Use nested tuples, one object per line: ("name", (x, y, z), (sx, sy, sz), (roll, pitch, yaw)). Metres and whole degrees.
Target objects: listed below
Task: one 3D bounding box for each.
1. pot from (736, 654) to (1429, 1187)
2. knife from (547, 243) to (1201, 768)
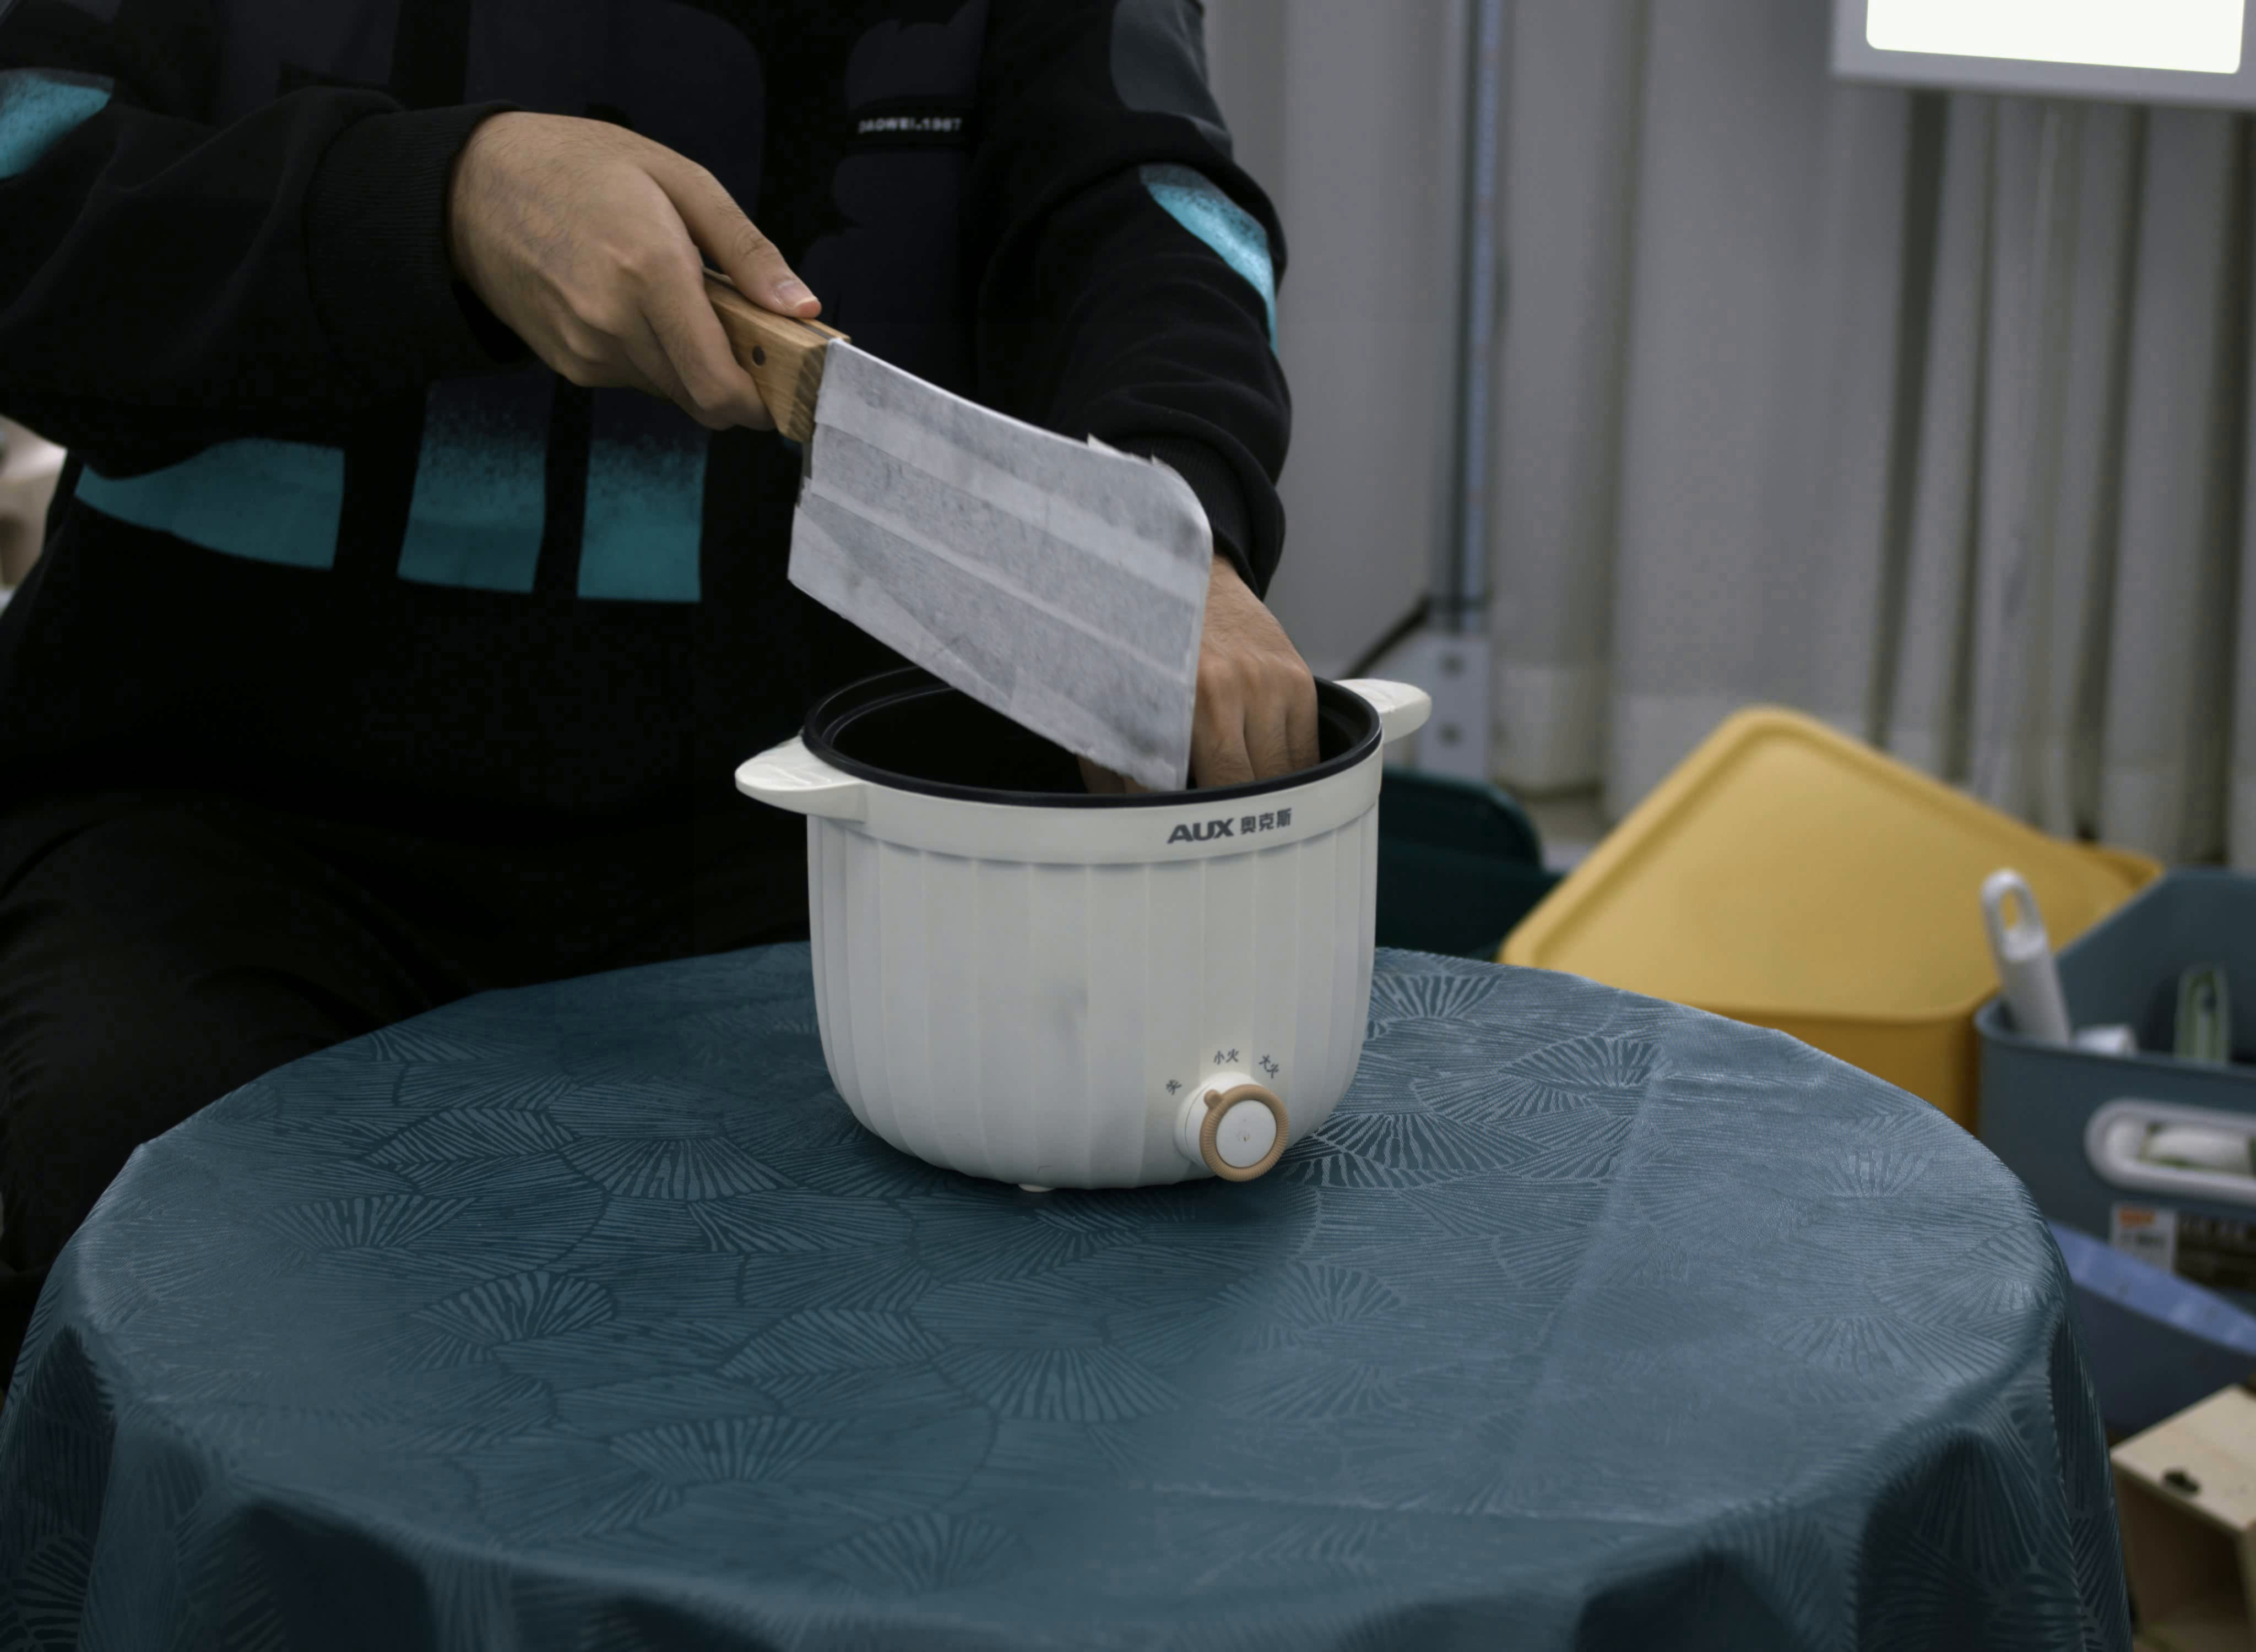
("pot", (-0.007, 0.031, 1.654), (0.241, 0.144, 0.188), (-9, 15, -27))
("knife", (-0.082, -0.117, 1.654), (0.022, 0.115, 0.311), (-14, 35, -43))
